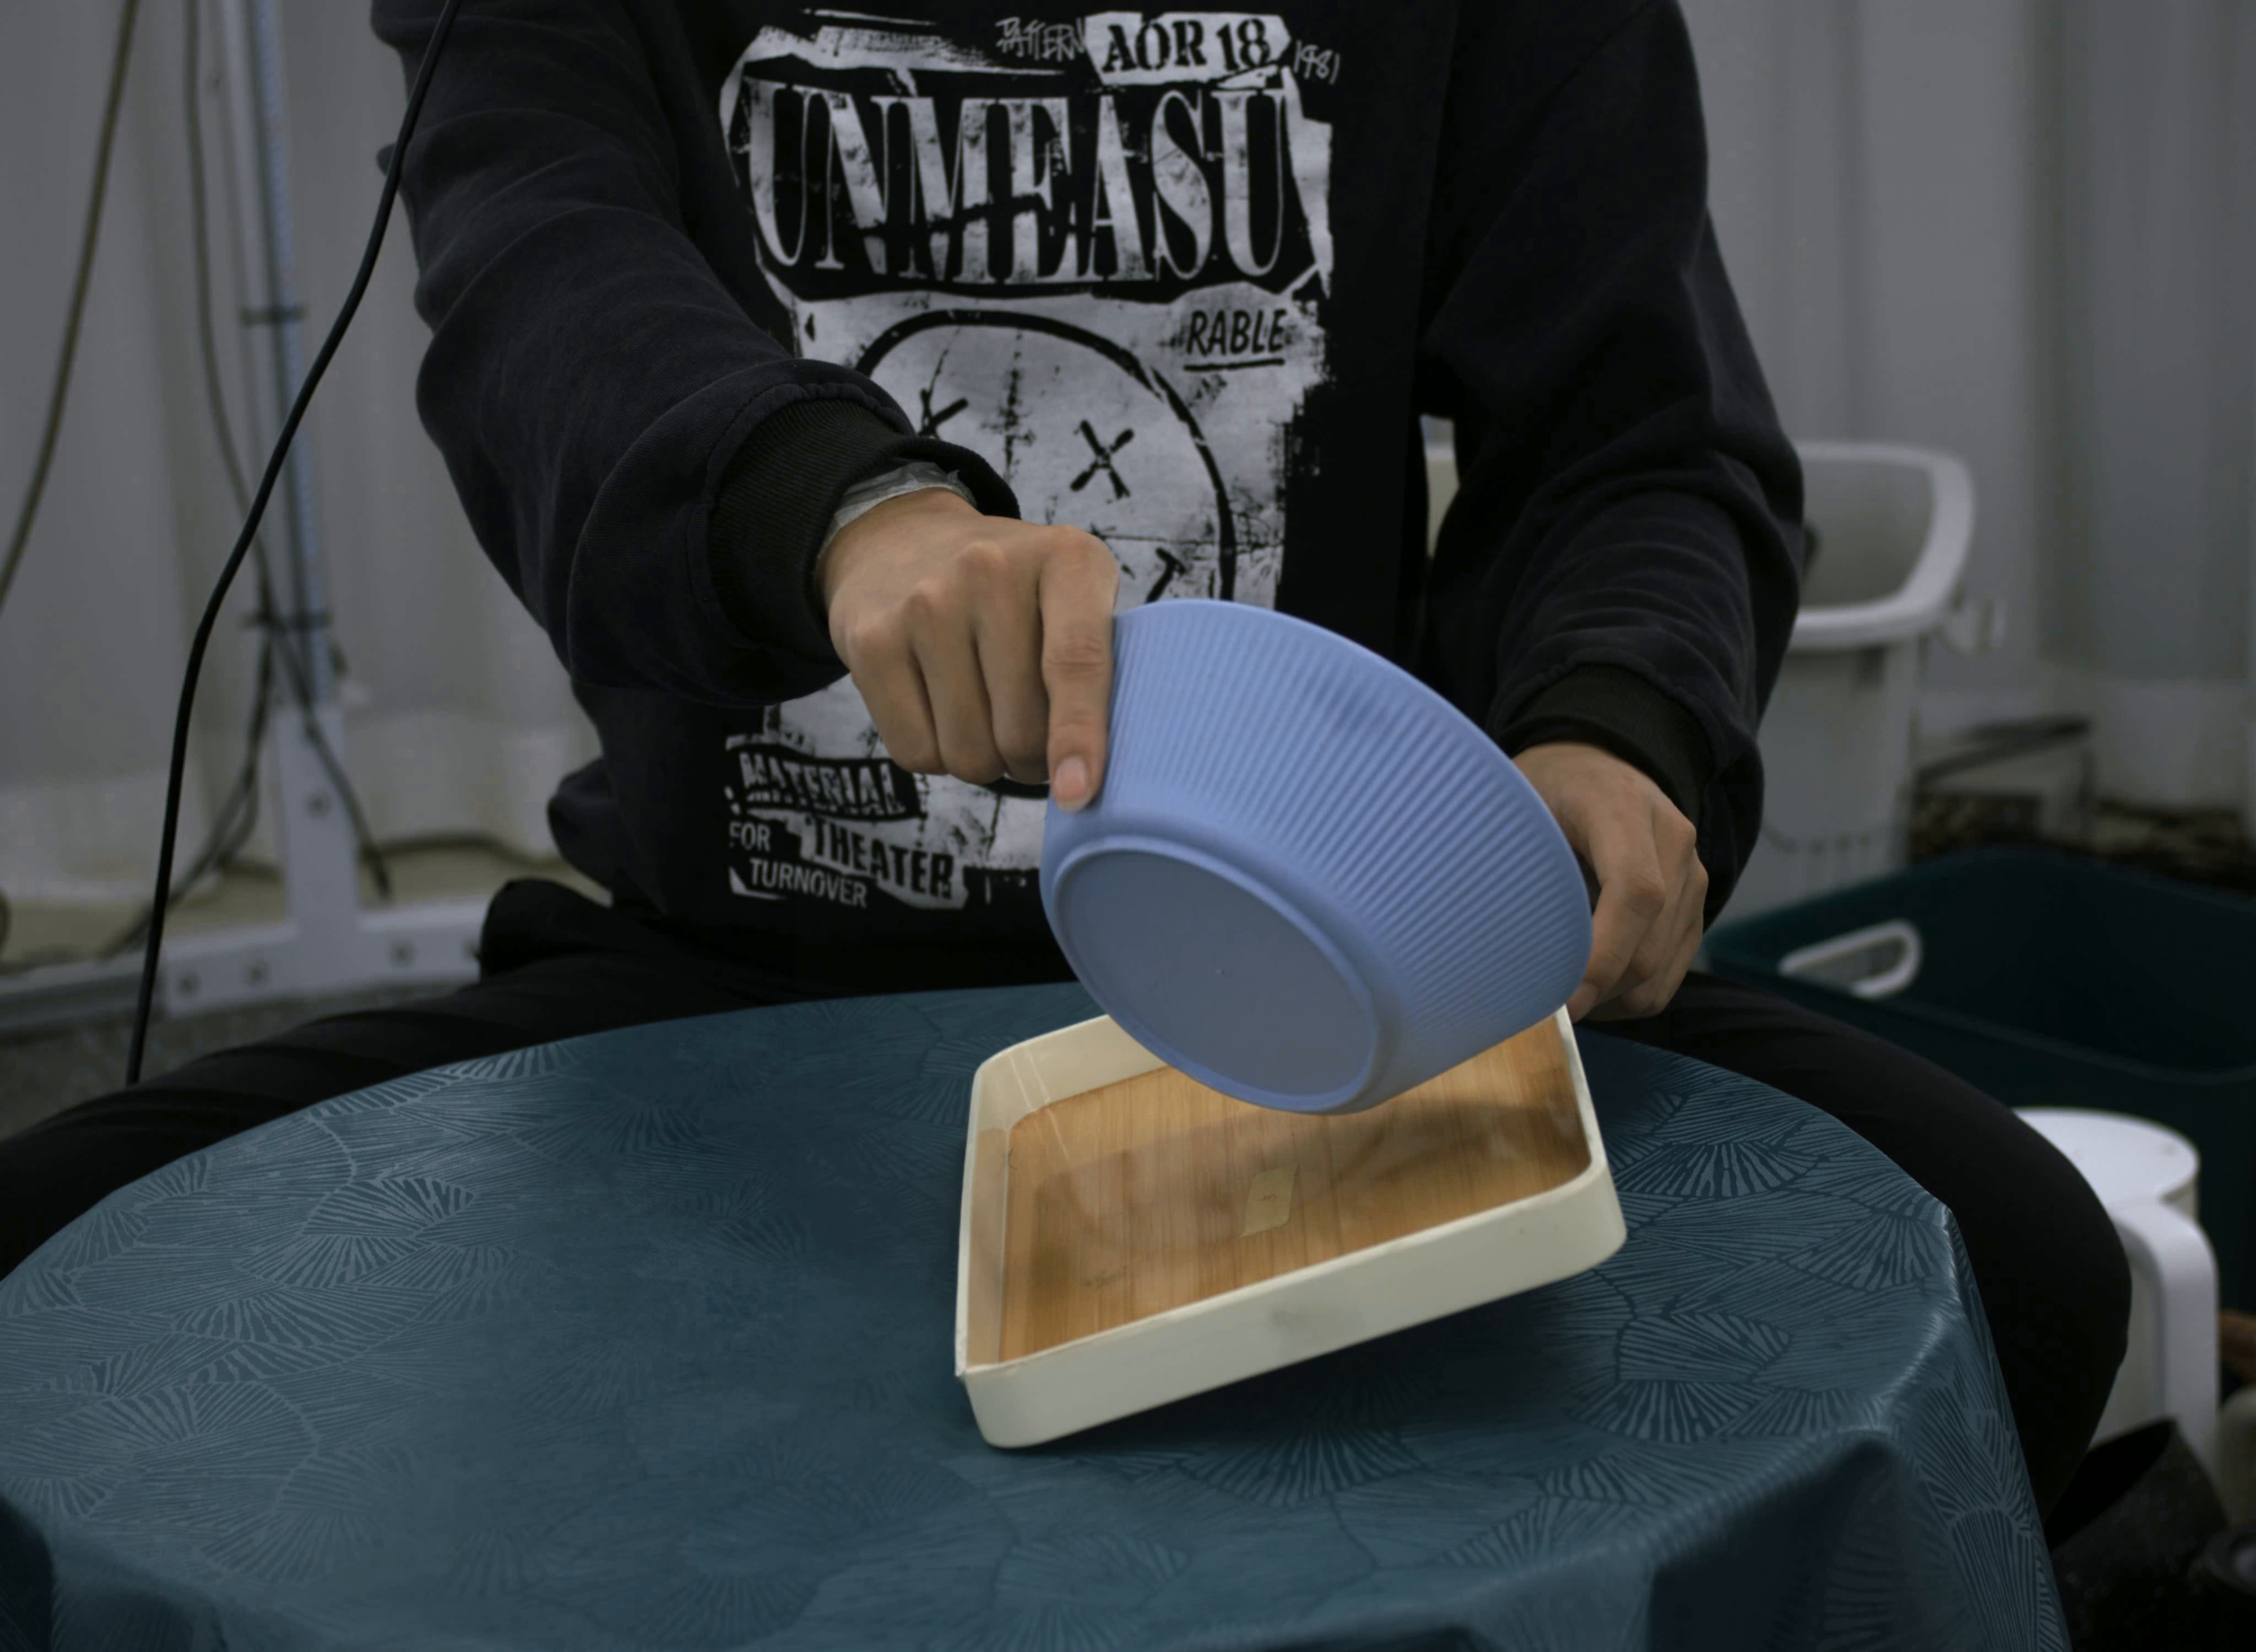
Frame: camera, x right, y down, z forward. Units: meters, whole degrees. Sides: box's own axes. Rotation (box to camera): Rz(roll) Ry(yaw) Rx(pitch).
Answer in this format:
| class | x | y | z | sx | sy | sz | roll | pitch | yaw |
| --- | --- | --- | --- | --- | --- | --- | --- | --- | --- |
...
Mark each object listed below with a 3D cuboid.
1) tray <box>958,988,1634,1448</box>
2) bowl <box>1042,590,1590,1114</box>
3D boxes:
| class | x | y | z | sx | sy | sz | roll | pitch | yaw |
| --- | --- | --- | --- | --- | --- | --- | --- | --- | --- |
| tray | 0.045 | 0.097 | 1.631 | 0.191 | 0.027 | 0.302 | -18 | 15 | 4 |
| bowl | 0.041 | 0.020 | 1.577 | 0.177 | 0.174 | 0.071 | 9 | 48 | 38 |
